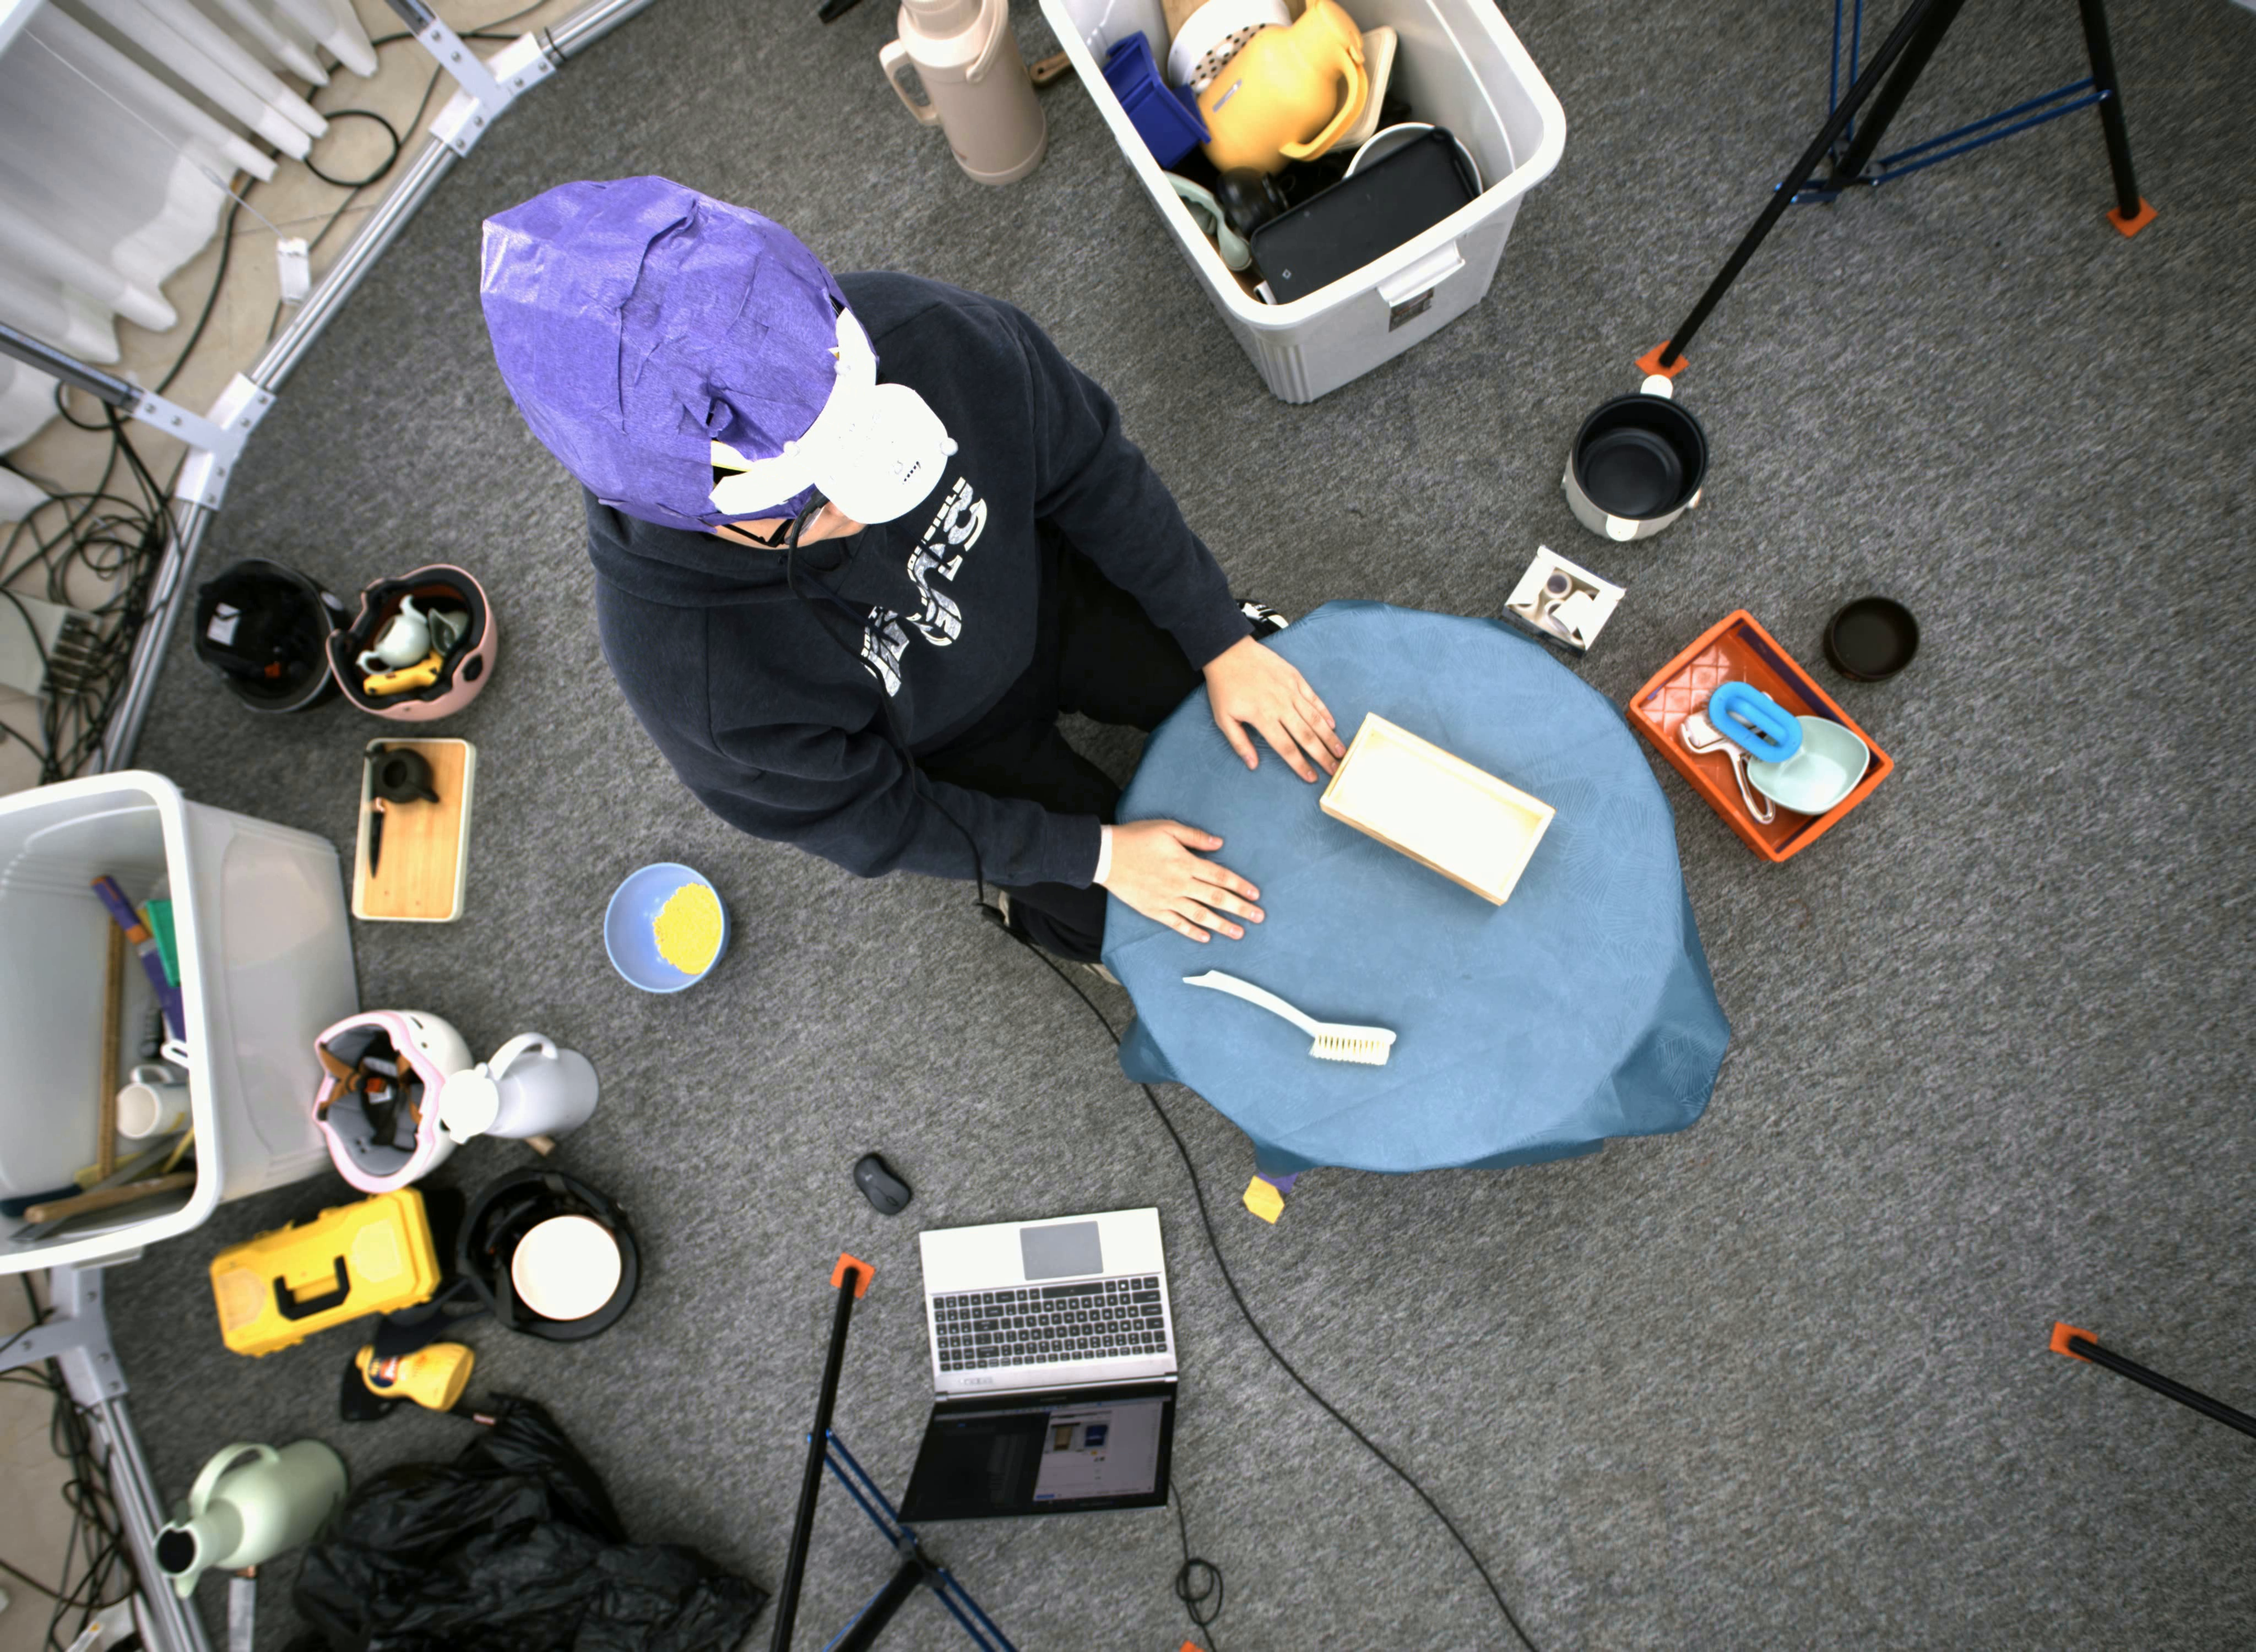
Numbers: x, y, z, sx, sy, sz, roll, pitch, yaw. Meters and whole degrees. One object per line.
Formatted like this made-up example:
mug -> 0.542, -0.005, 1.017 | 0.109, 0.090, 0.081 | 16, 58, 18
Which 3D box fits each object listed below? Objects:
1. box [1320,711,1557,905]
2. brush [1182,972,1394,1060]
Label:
box -> 0.316, -0.019, 1.417 | 0.211, 0.080, 0.107 | 29, 91, 11
brush -> 0.163, 0.200, 1.454 | 0.229, 0.038, 0.049 | 17, 81, 11
